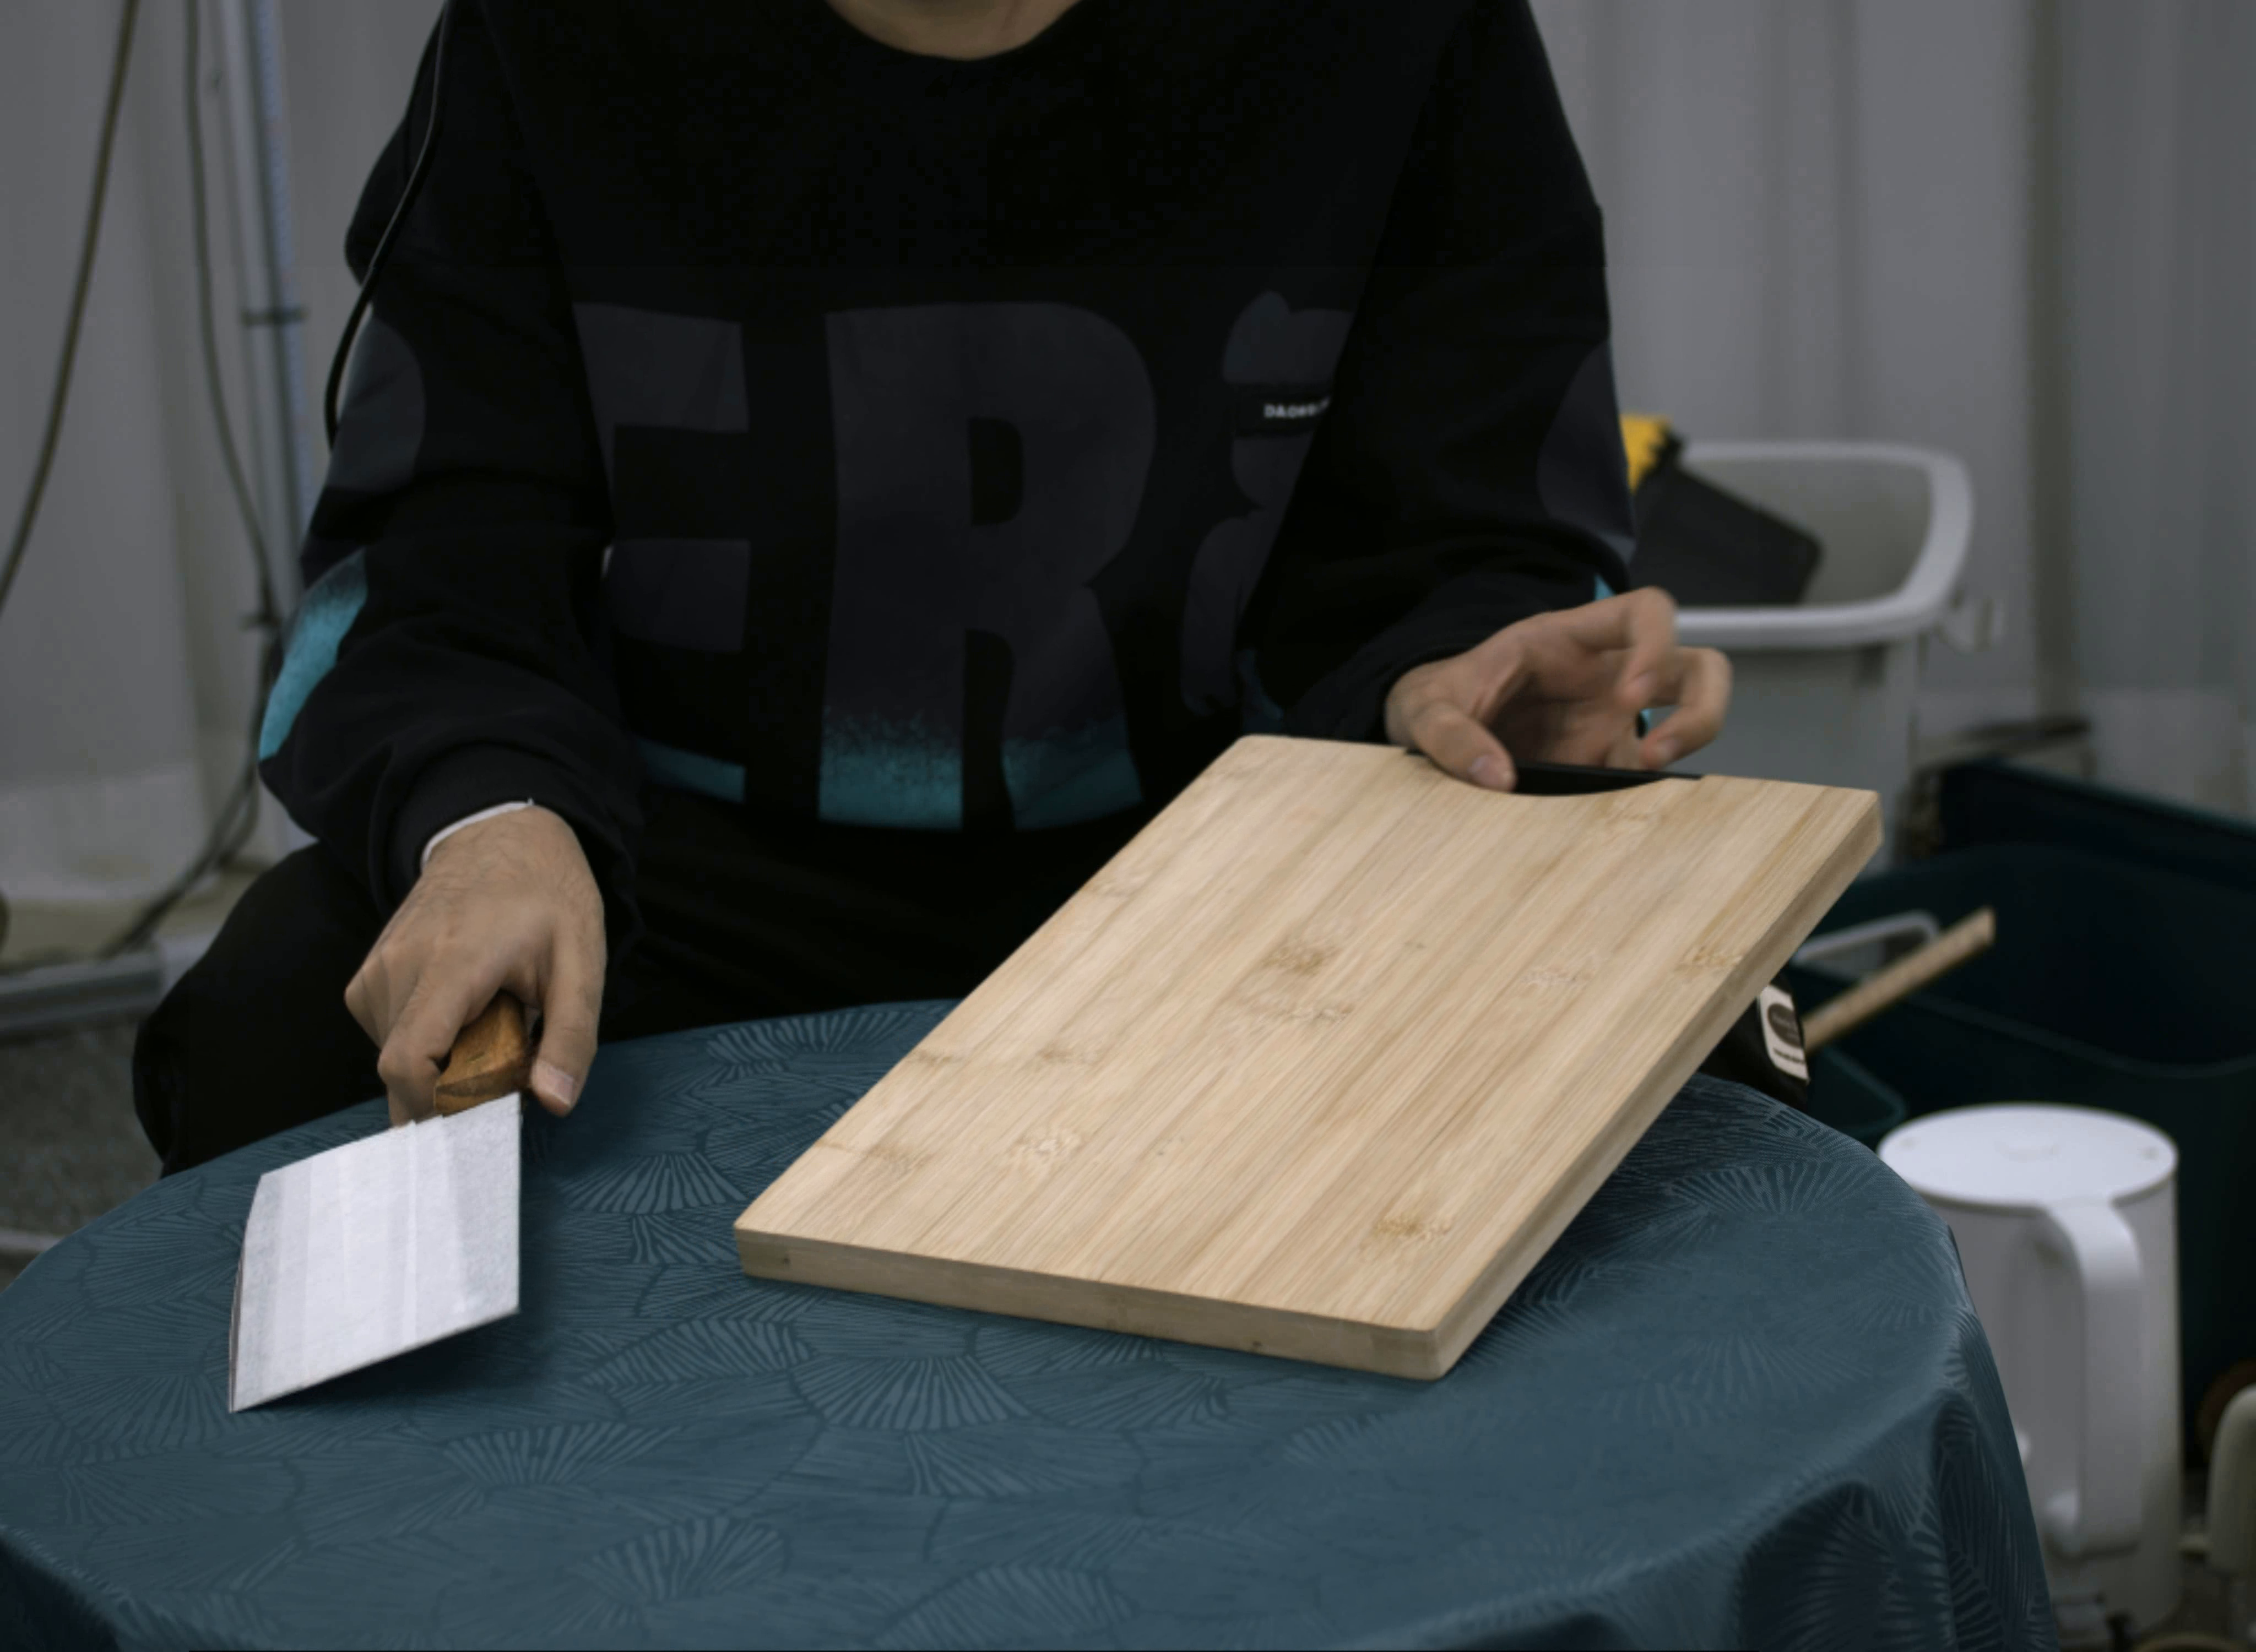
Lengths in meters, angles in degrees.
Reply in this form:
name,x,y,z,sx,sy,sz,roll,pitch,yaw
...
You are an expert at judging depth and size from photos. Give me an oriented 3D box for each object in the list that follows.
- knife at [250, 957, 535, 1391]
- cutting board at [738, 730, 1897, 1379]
name,x,y,z,sx,sy,sz,roll,pitch,yaw
knife,-0.230,0.108,1.711,0.092,0.021,0.308,-19,19,0
cutting board,0.066,0.062,1.727,0.251,0.023,0.351,5,29,28
